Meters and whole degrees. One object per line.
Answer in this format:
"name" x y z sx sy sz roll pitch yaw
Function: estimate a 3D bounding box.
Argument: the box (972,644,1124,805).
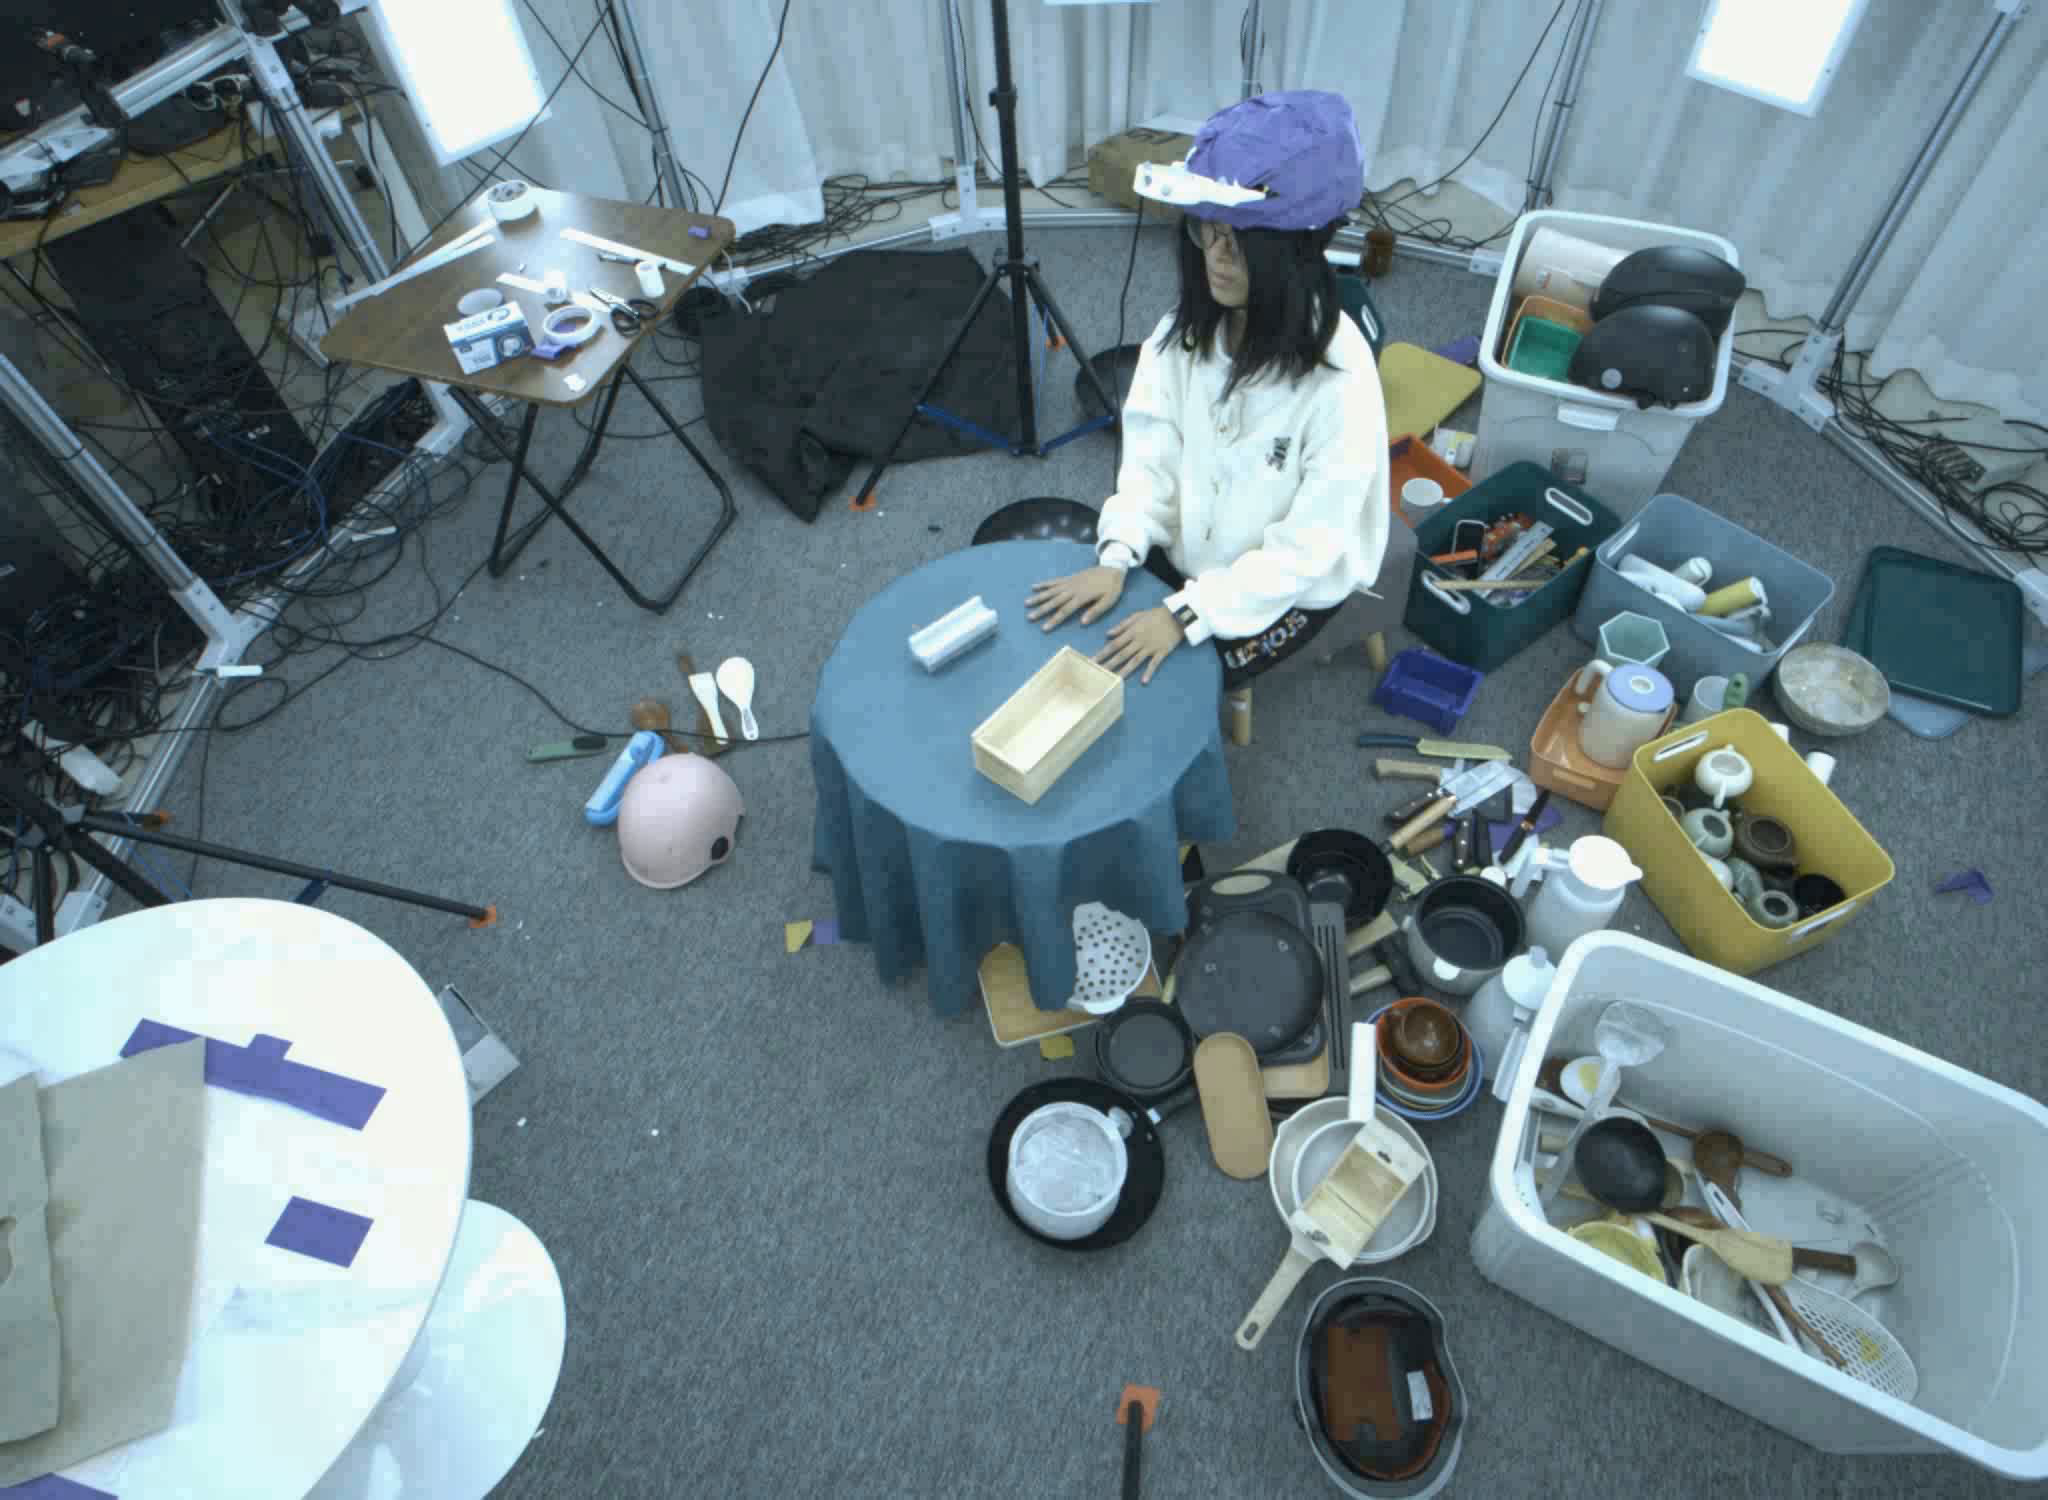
"box" 0.037 -0.038 1.765 0.106 0.081 0.212 33 63 23

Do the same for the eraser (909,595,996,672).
"eraser" -0.109 -0.179 1.889 0.135 0.047 0.049 -37 59 -20
